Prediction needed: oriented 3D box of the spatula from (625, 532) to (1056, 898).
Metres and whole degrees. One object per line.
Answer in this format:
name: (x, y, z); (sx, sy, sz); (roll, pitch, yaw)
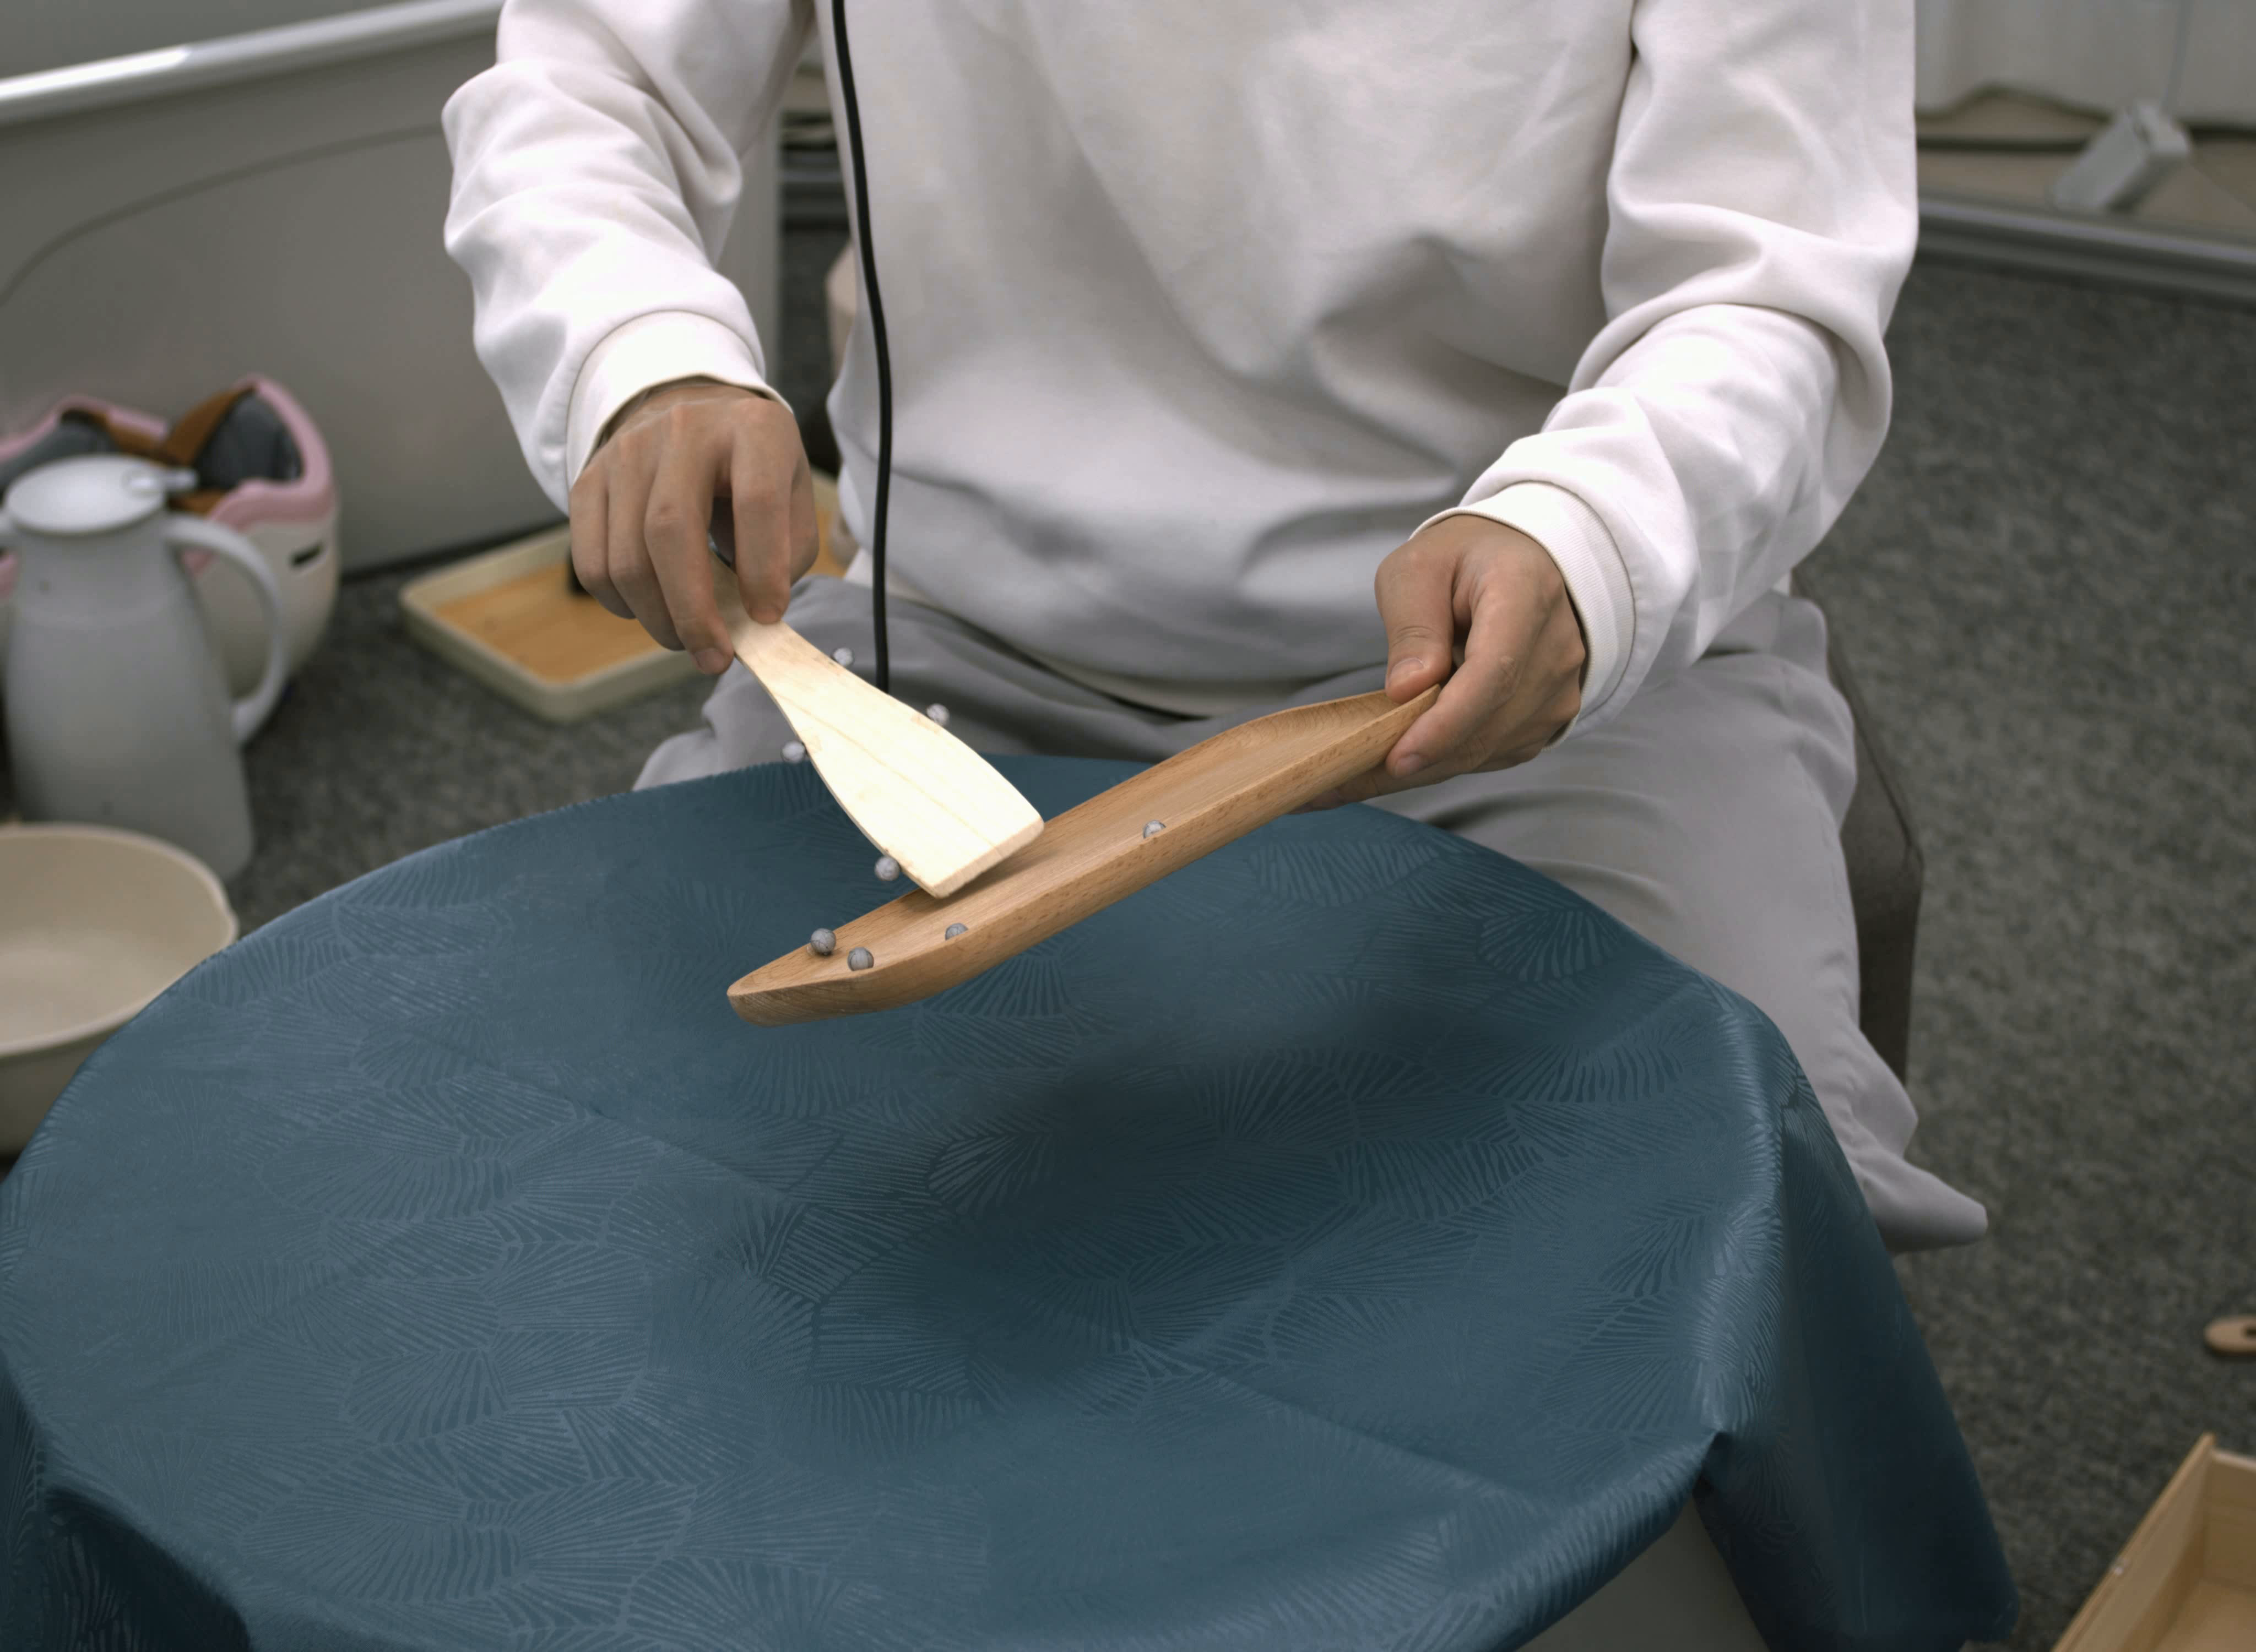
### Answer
spatula: (-0.106, -0.043, 1.925); (0.051, 0.005, 0.209); (-32, 53, -24)

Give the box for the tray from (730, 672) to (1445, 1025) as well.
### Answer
tray: (-0.011, 0.007, 1.852); (0.253, 0.023, 0.129); (-27, 12, -34)
